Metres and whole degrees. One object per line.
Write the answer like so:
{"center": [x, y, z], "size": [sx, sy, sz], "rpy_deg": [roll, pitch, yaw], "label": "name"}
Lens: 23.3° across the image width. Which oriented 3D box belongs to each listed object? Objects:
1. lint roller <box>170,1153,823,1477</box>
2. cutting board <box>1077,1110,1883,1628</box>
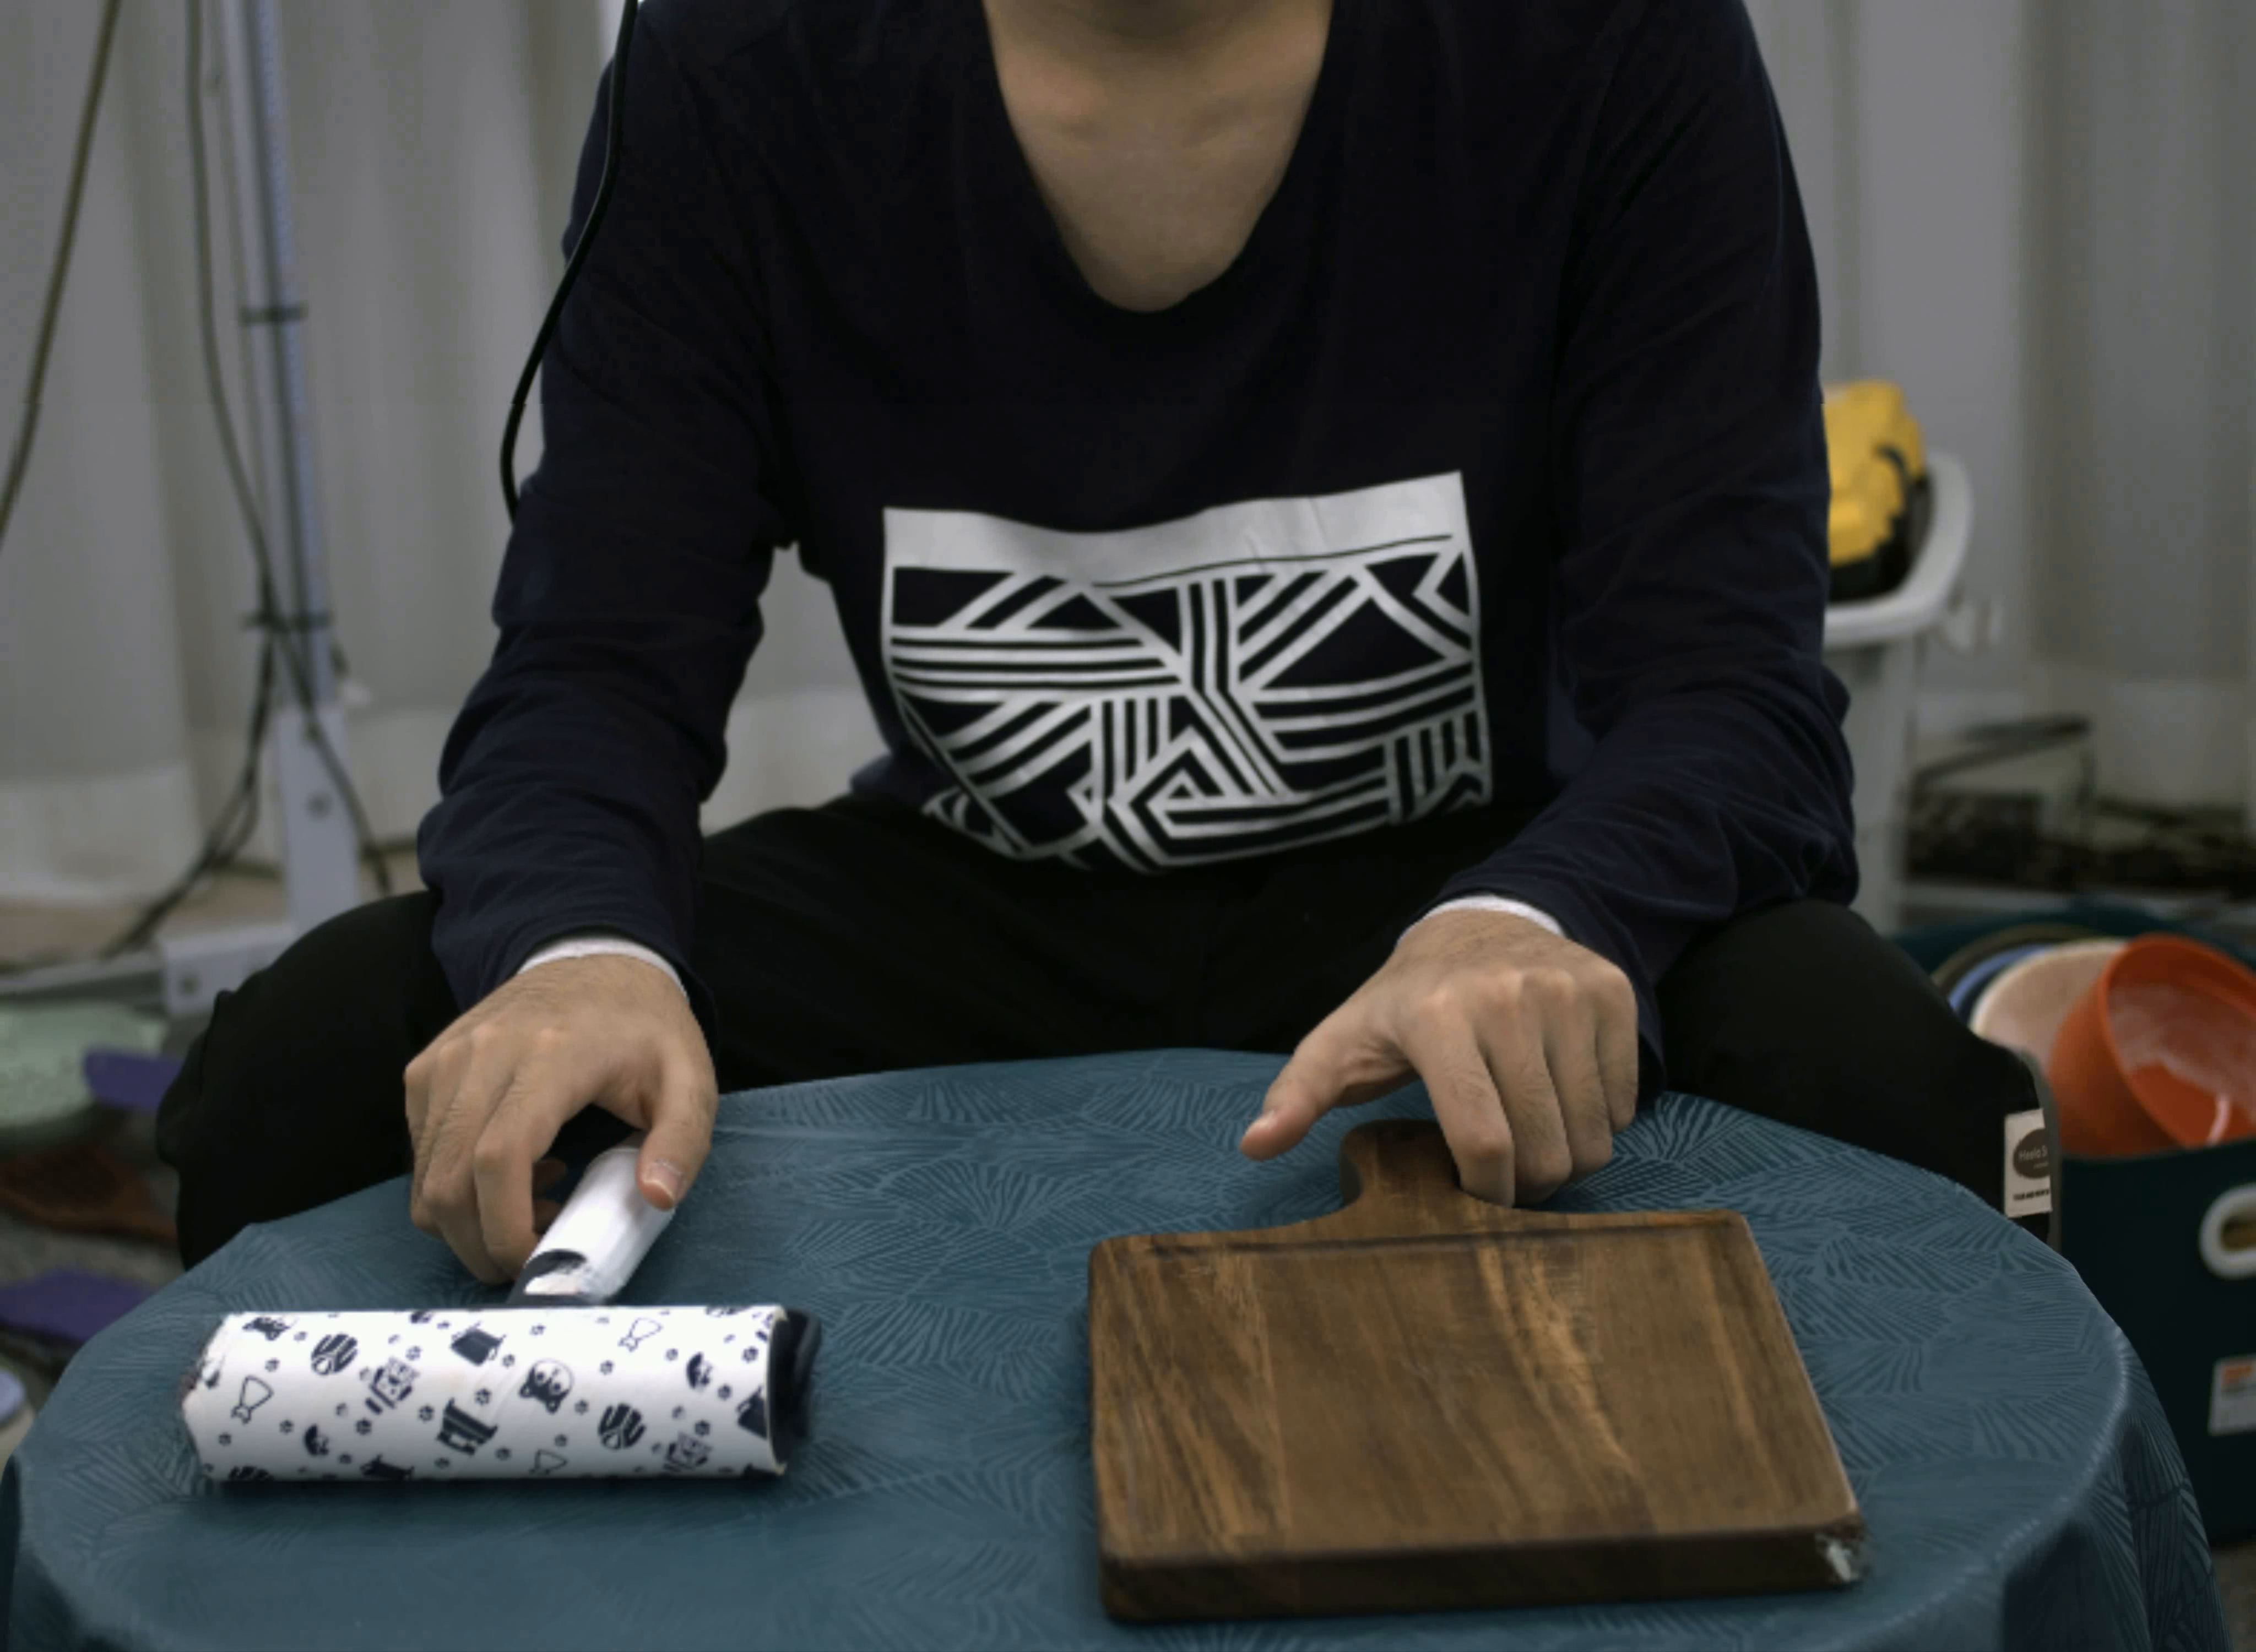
{"center": [-0.166, 0.132, 1.602], "size": [0.176, 0.050, 0.248], "rpy_deg": [-3, 13, 5], "label": "lint roller"}
{"center": [0.087, 0.145, 1.547], "size": [0.200, 0.023, 0.354], "rpy_deg": [-3, 15, -1], "label": "cutting board"}
